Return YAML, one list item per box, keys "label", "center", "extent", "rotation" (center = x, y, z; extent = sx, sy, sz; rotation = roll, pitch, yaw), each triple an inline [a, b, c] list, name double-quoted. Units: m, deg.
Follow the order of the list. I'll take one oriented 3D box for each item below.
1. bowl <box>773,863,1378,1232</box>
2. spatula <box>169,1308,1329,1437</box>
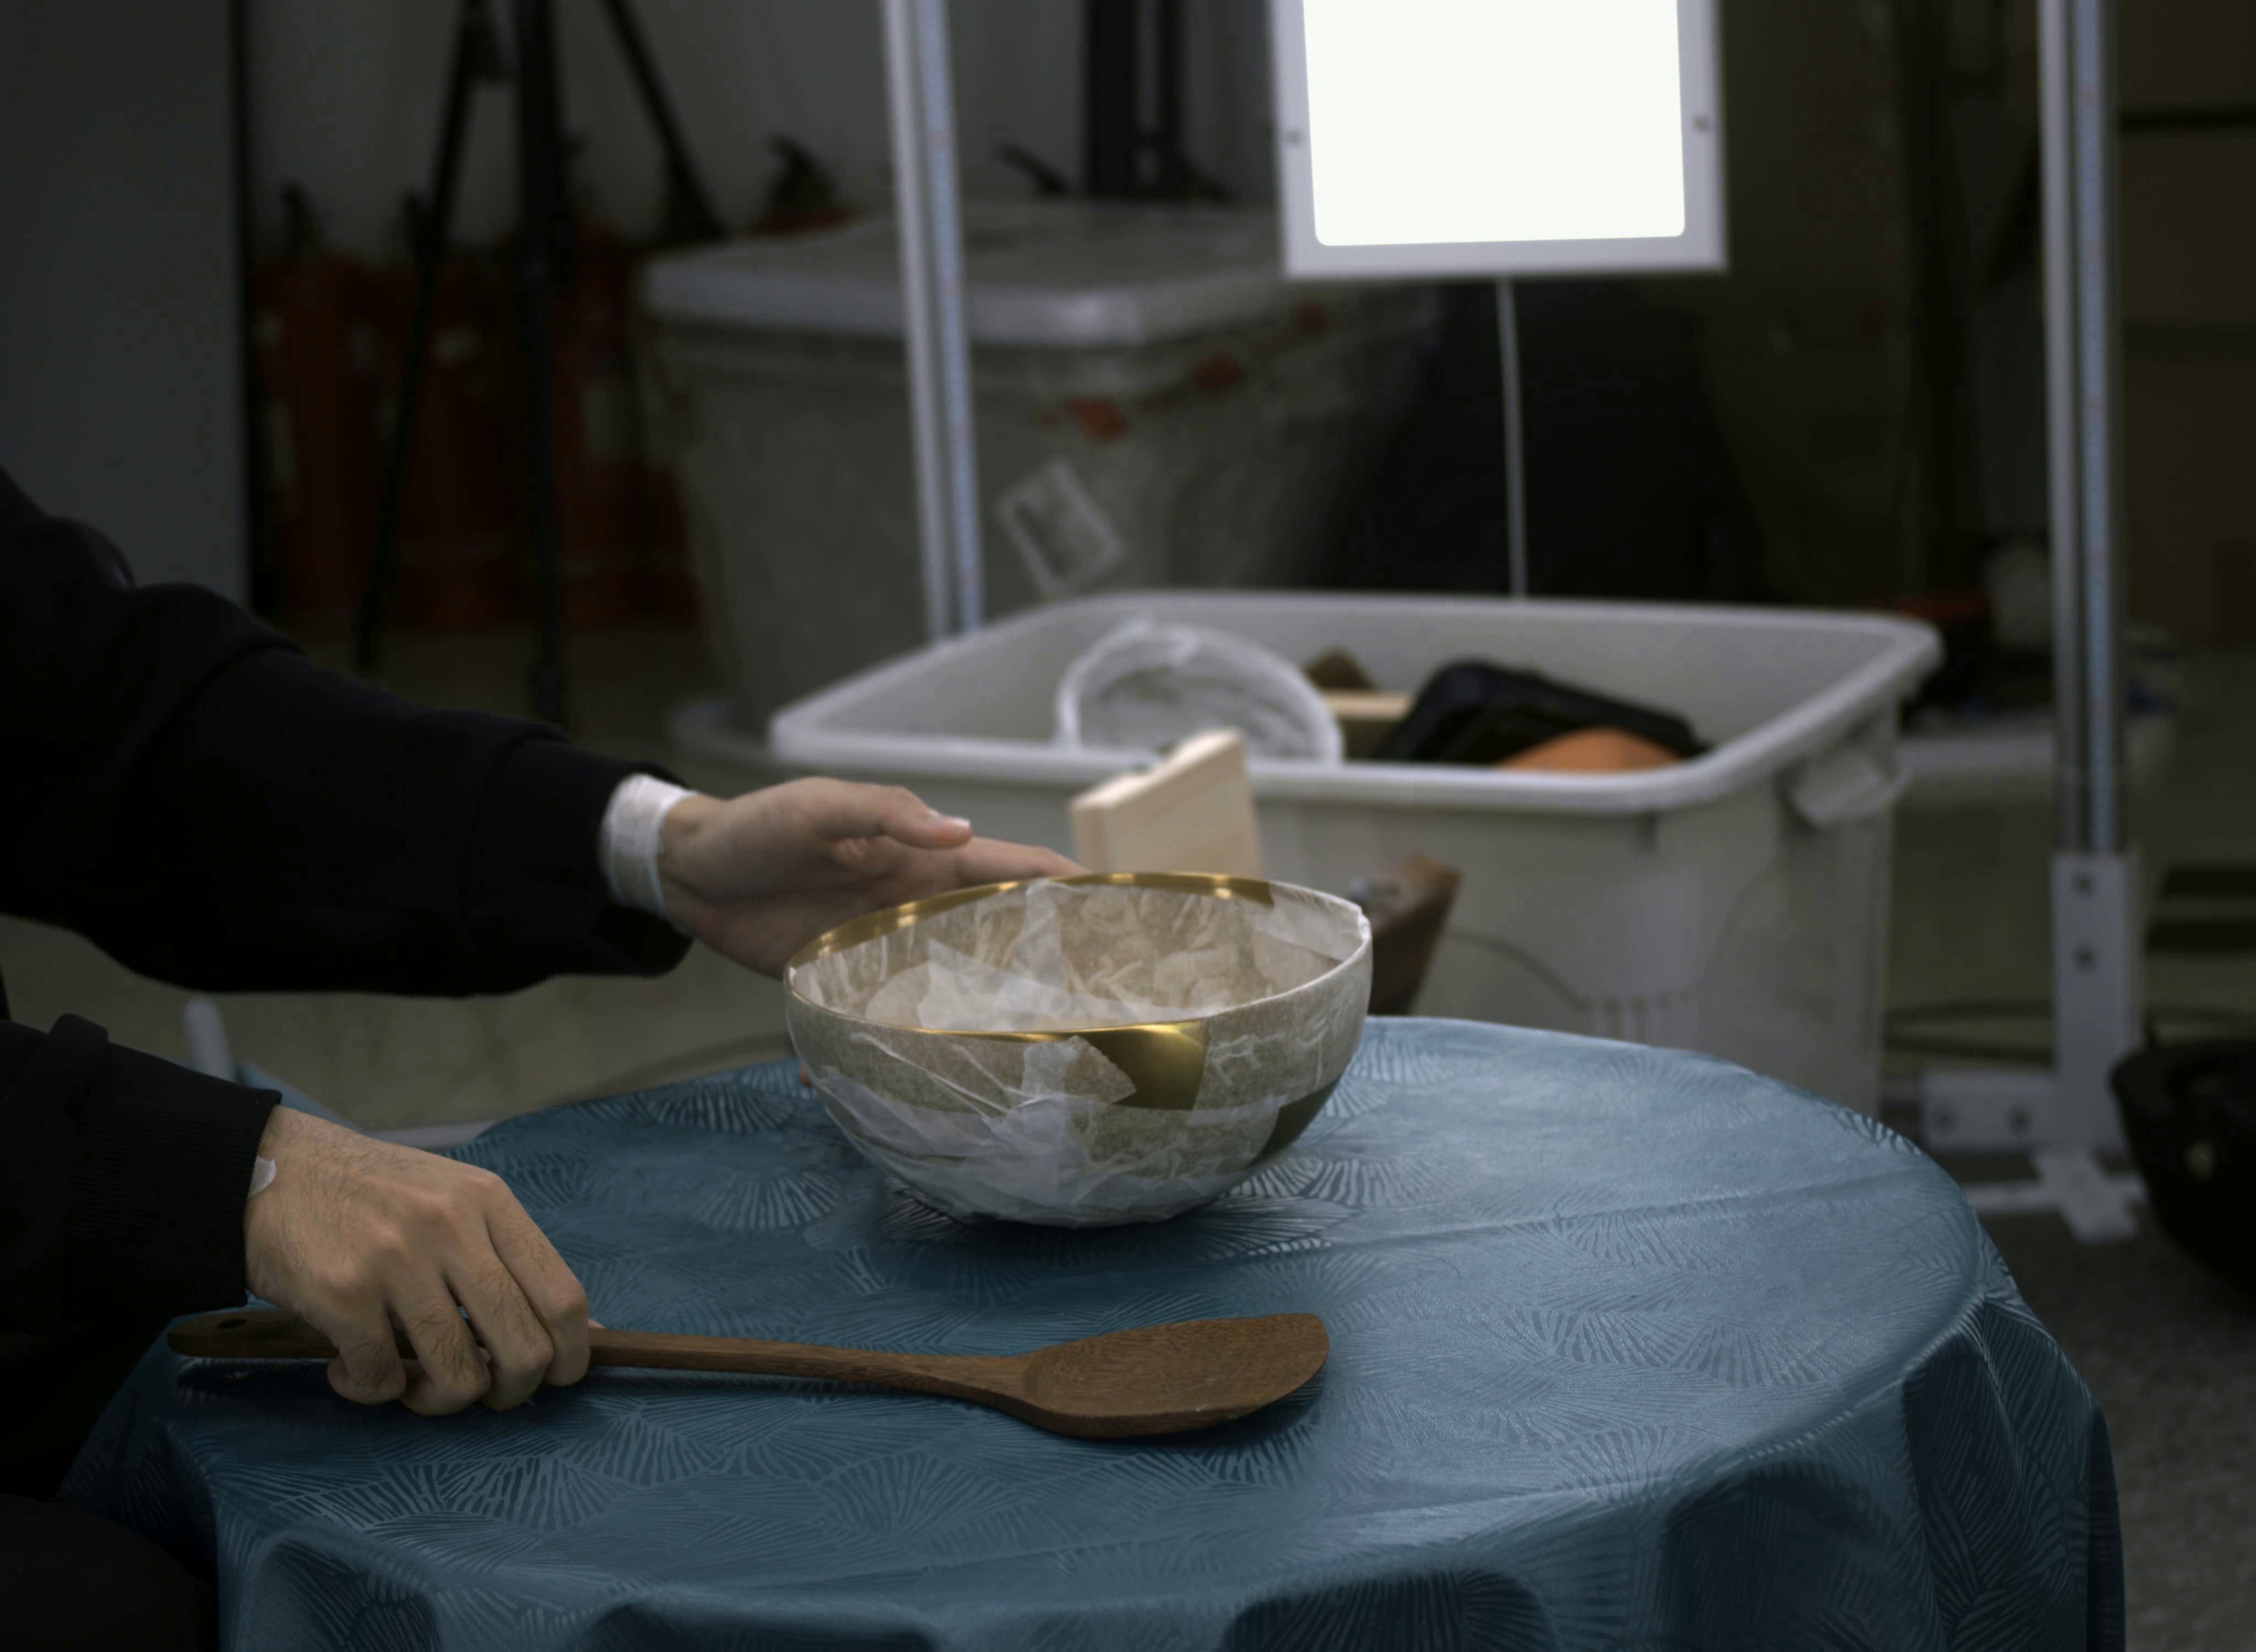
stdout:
- label: "bowl"
  center: [-0.015, 0.083, 1.884]
  extent: [0.214, 0.095, 0.214]
  rotation: [-7, 15, 0]
- label: "spatula"
  center: [-0.126, 0.167, 1.738]
  extent: [0.390, 0.016, 0.094]
  rotation: [1, 14, 18]
